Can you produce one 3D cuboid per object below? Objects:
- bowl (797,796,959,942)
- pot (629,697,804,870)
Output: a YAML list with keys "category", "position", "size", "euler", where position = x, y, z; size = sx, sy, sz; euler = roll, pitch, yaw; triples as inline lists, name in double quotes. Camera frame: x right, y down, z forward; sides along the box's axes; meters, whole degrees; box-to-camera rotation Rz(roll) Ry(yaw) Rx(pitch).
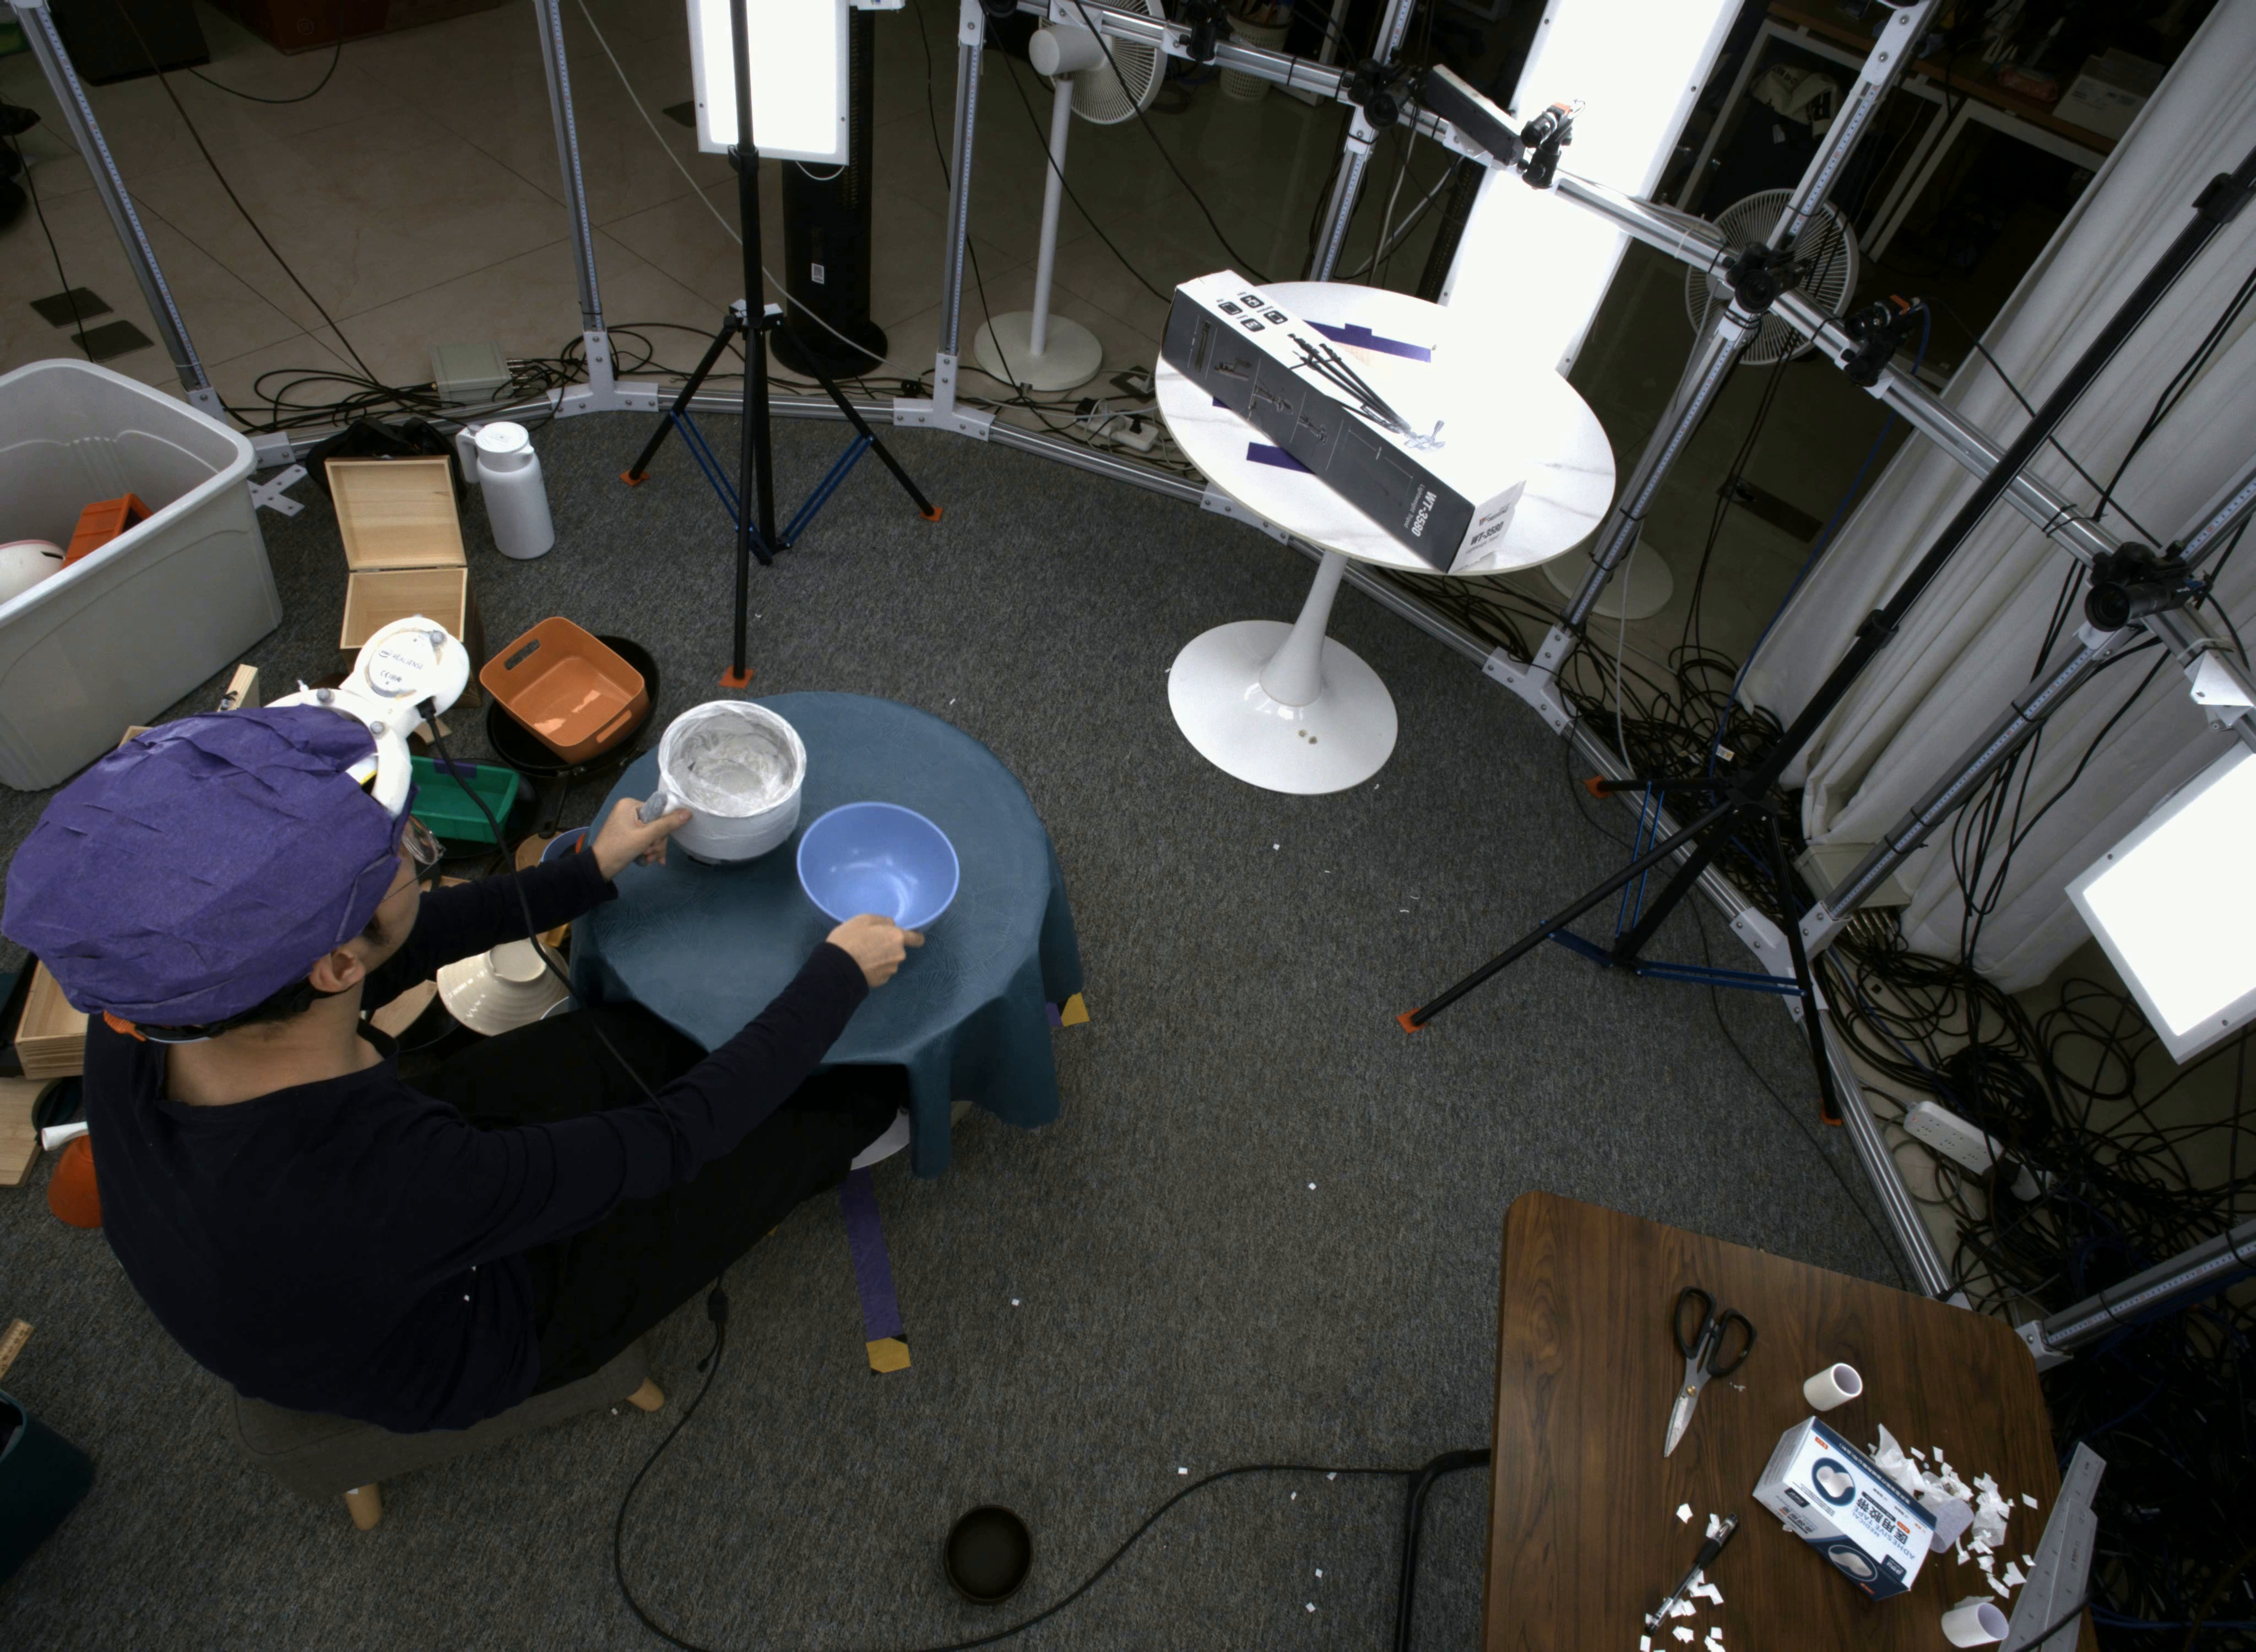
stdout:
- category: "bowl"
  position: [-0.314, 0.068, 1.607]
  size: [0.197, 0.097, 0.193]
  euler: [14, 47, -14]
- category: "pot"
  position: [-0.520, -0.039, 1.614]
  size: [0.176, 0.138, 0.234]
  euler: [42, 52, 13]
